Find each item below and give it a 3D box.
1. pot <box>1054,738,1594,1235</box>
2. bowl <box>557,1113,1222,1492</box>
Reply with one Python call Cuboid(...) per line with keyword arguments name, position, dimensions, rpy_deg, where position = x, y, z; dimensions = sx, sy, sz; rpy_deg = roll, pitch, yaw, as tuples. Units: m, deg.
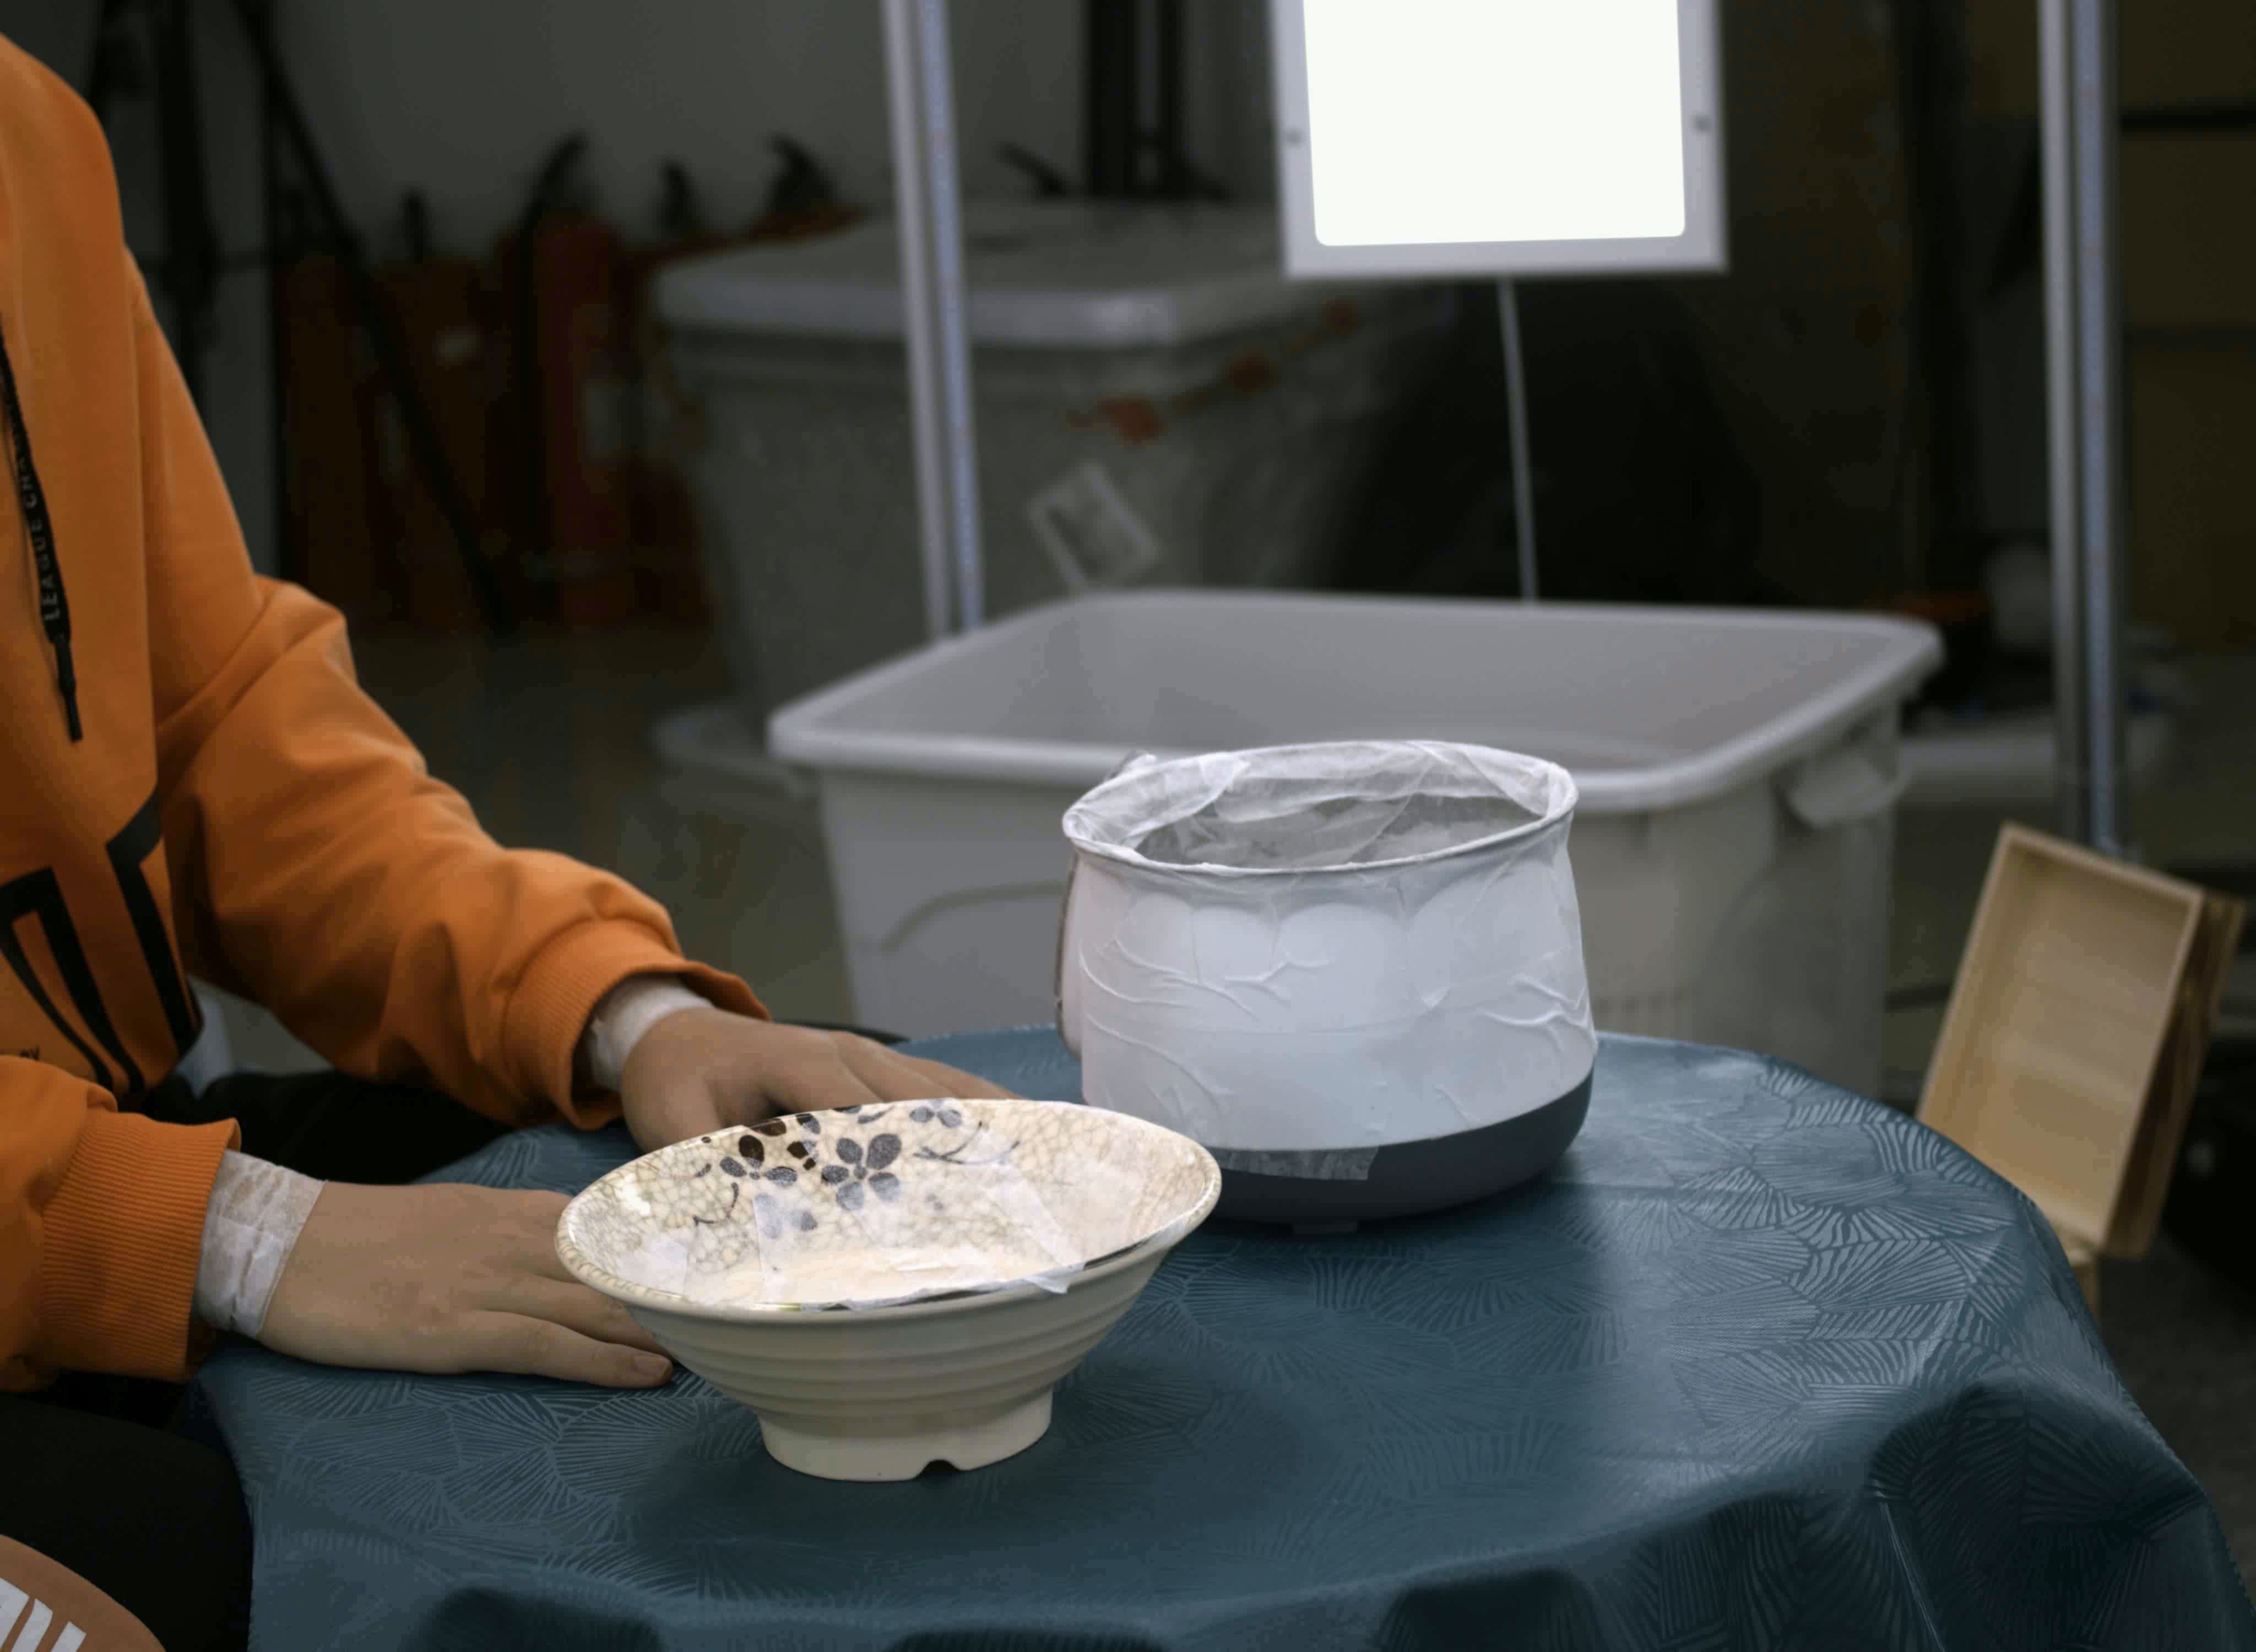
Cuboid(name="pot", position=(0.053, 0.049, 1.904), dimensions=(0.174, 0.137, 0.238), rpy_deg=(-15, 17, -36))
Cuboid(name="bowl", position=(-0.067, 0.151, 1.672), dimensions=(0.203, 0.078, 0.204), rpy_deg=(-8, 12, 0))
